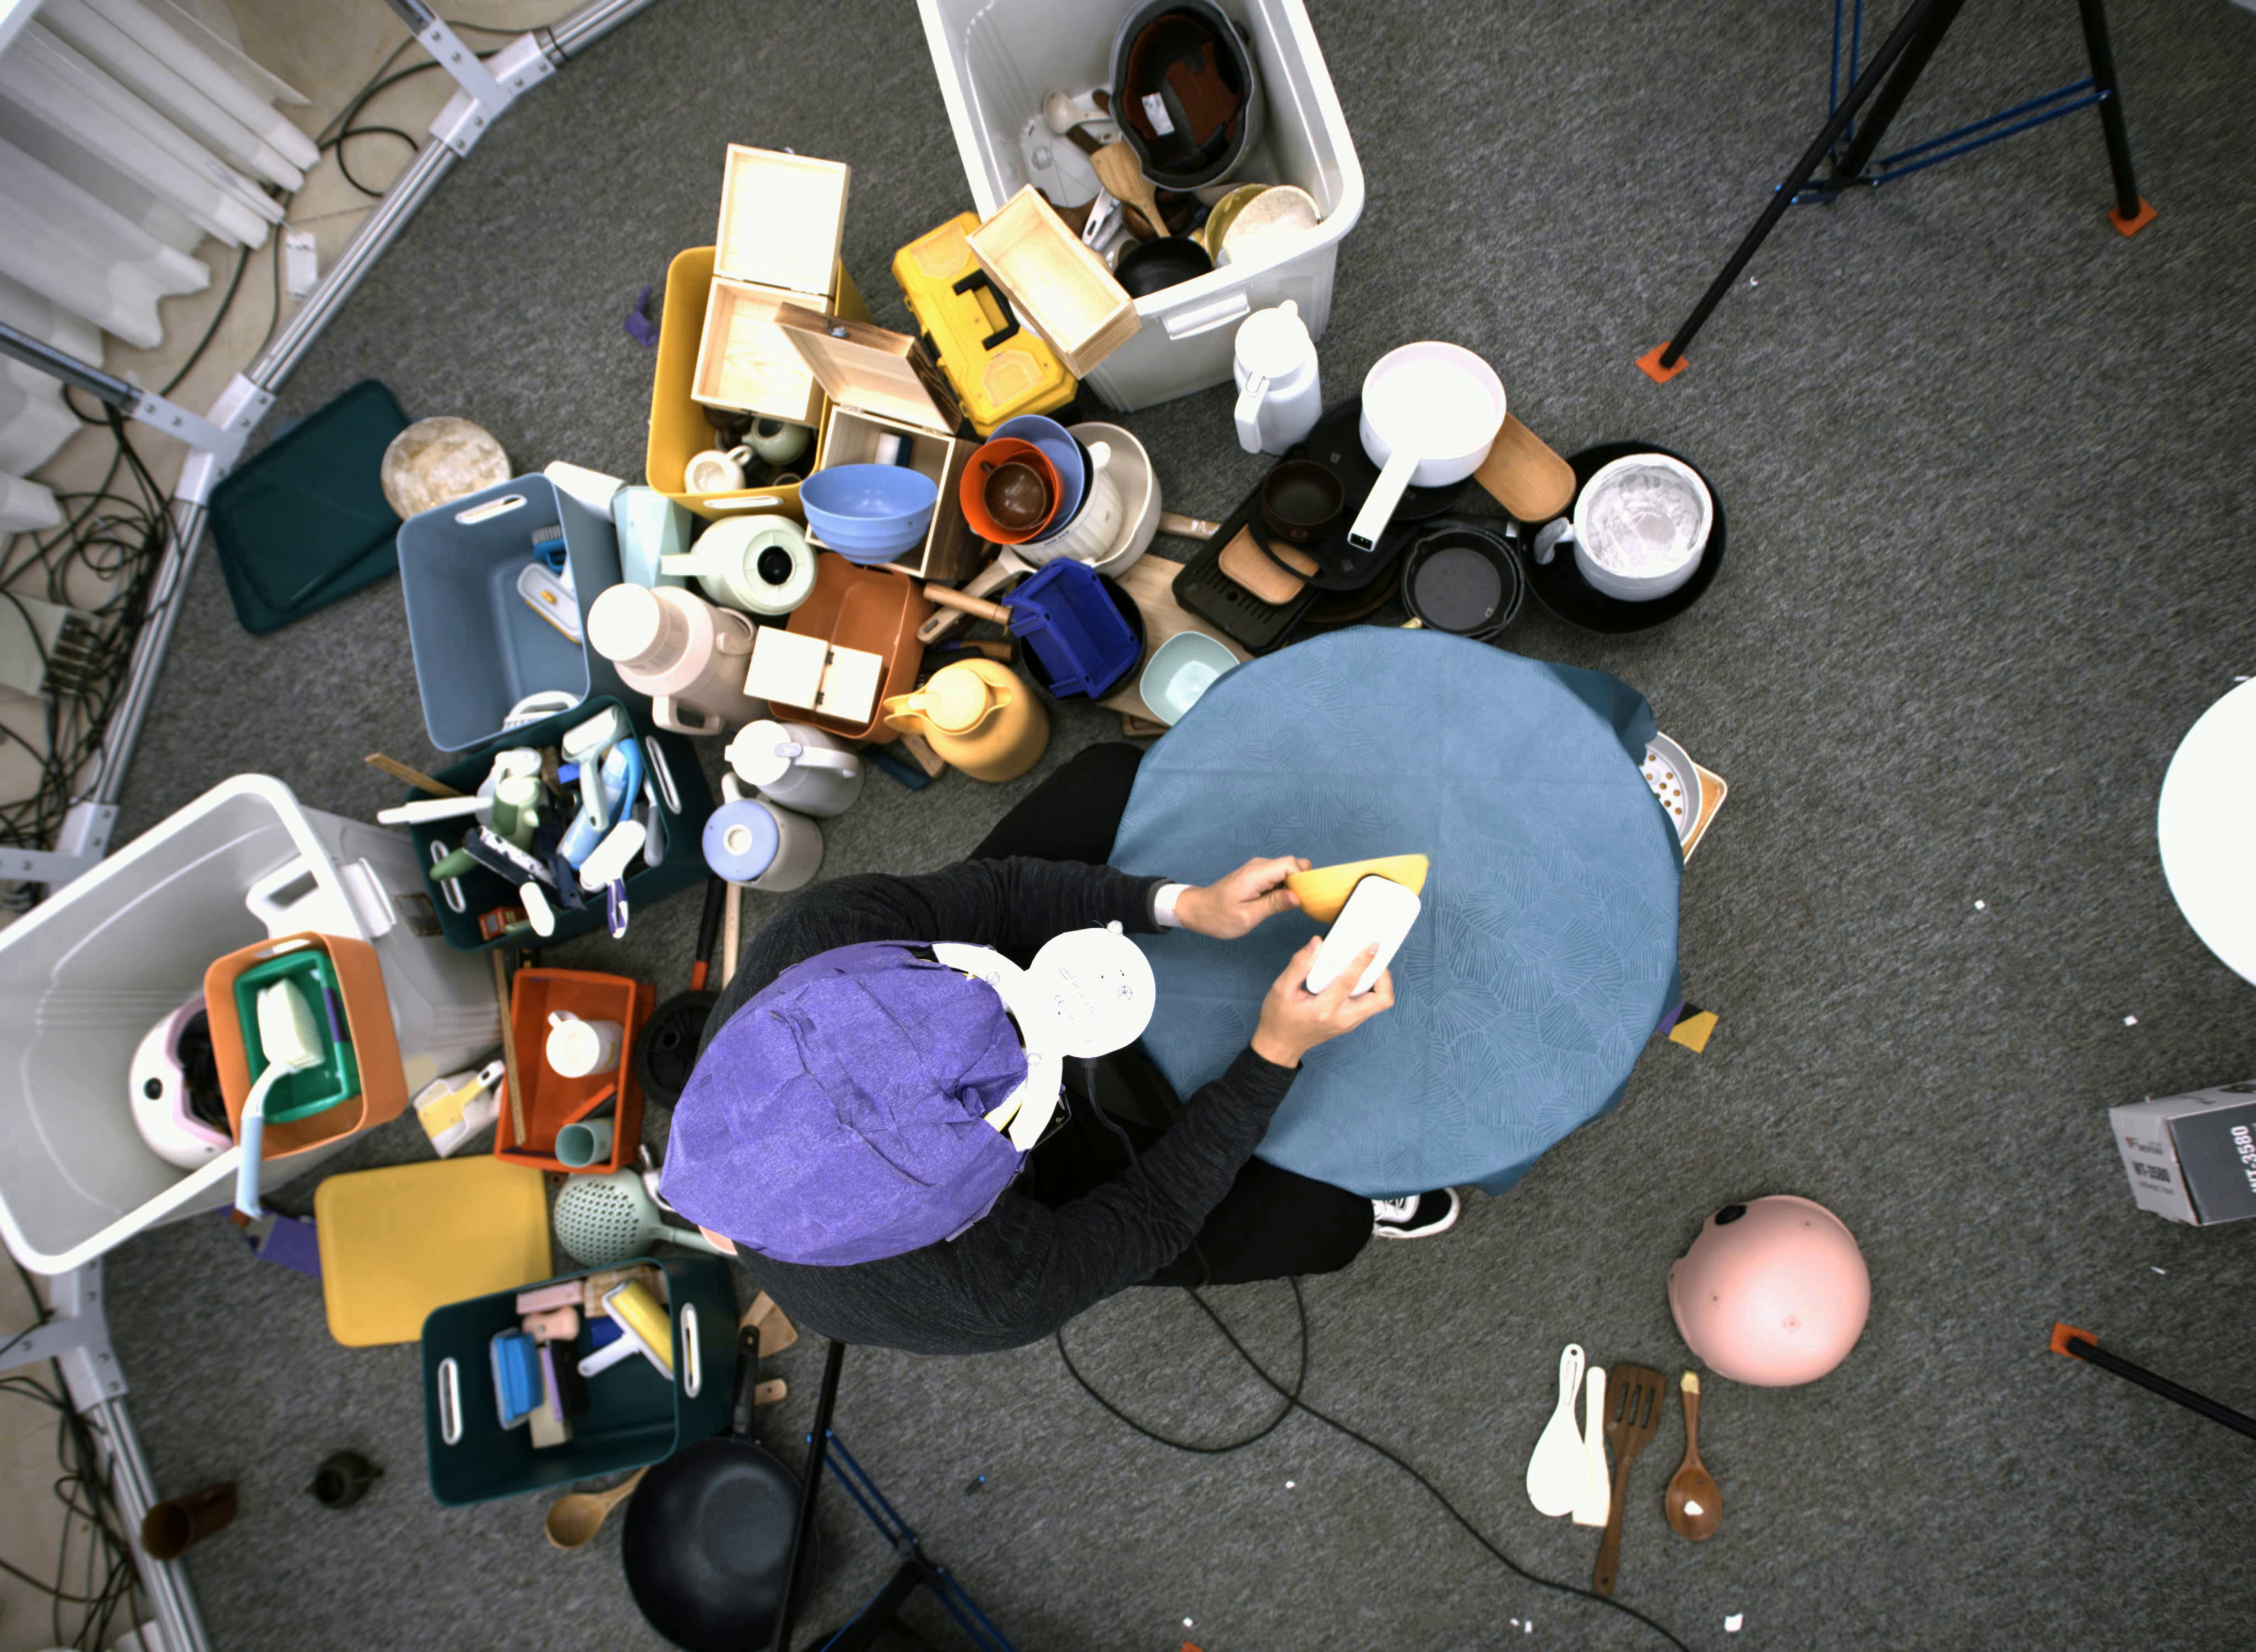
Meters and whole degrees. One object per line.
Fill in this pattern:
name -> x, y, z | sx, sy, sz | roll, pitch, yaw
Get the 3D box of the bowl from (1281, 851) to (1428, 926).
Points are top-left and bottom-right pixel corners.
bowl -> 0.225, 0.064, 1.346 | 0.146, 0.145, 0.060 | -9, 84, 9

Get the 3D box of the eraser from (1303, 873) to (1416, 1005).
eraser -> 0.214, 0.106, 1.295 | 0.063, 0.034, 0.134 | 20, 115, -16
